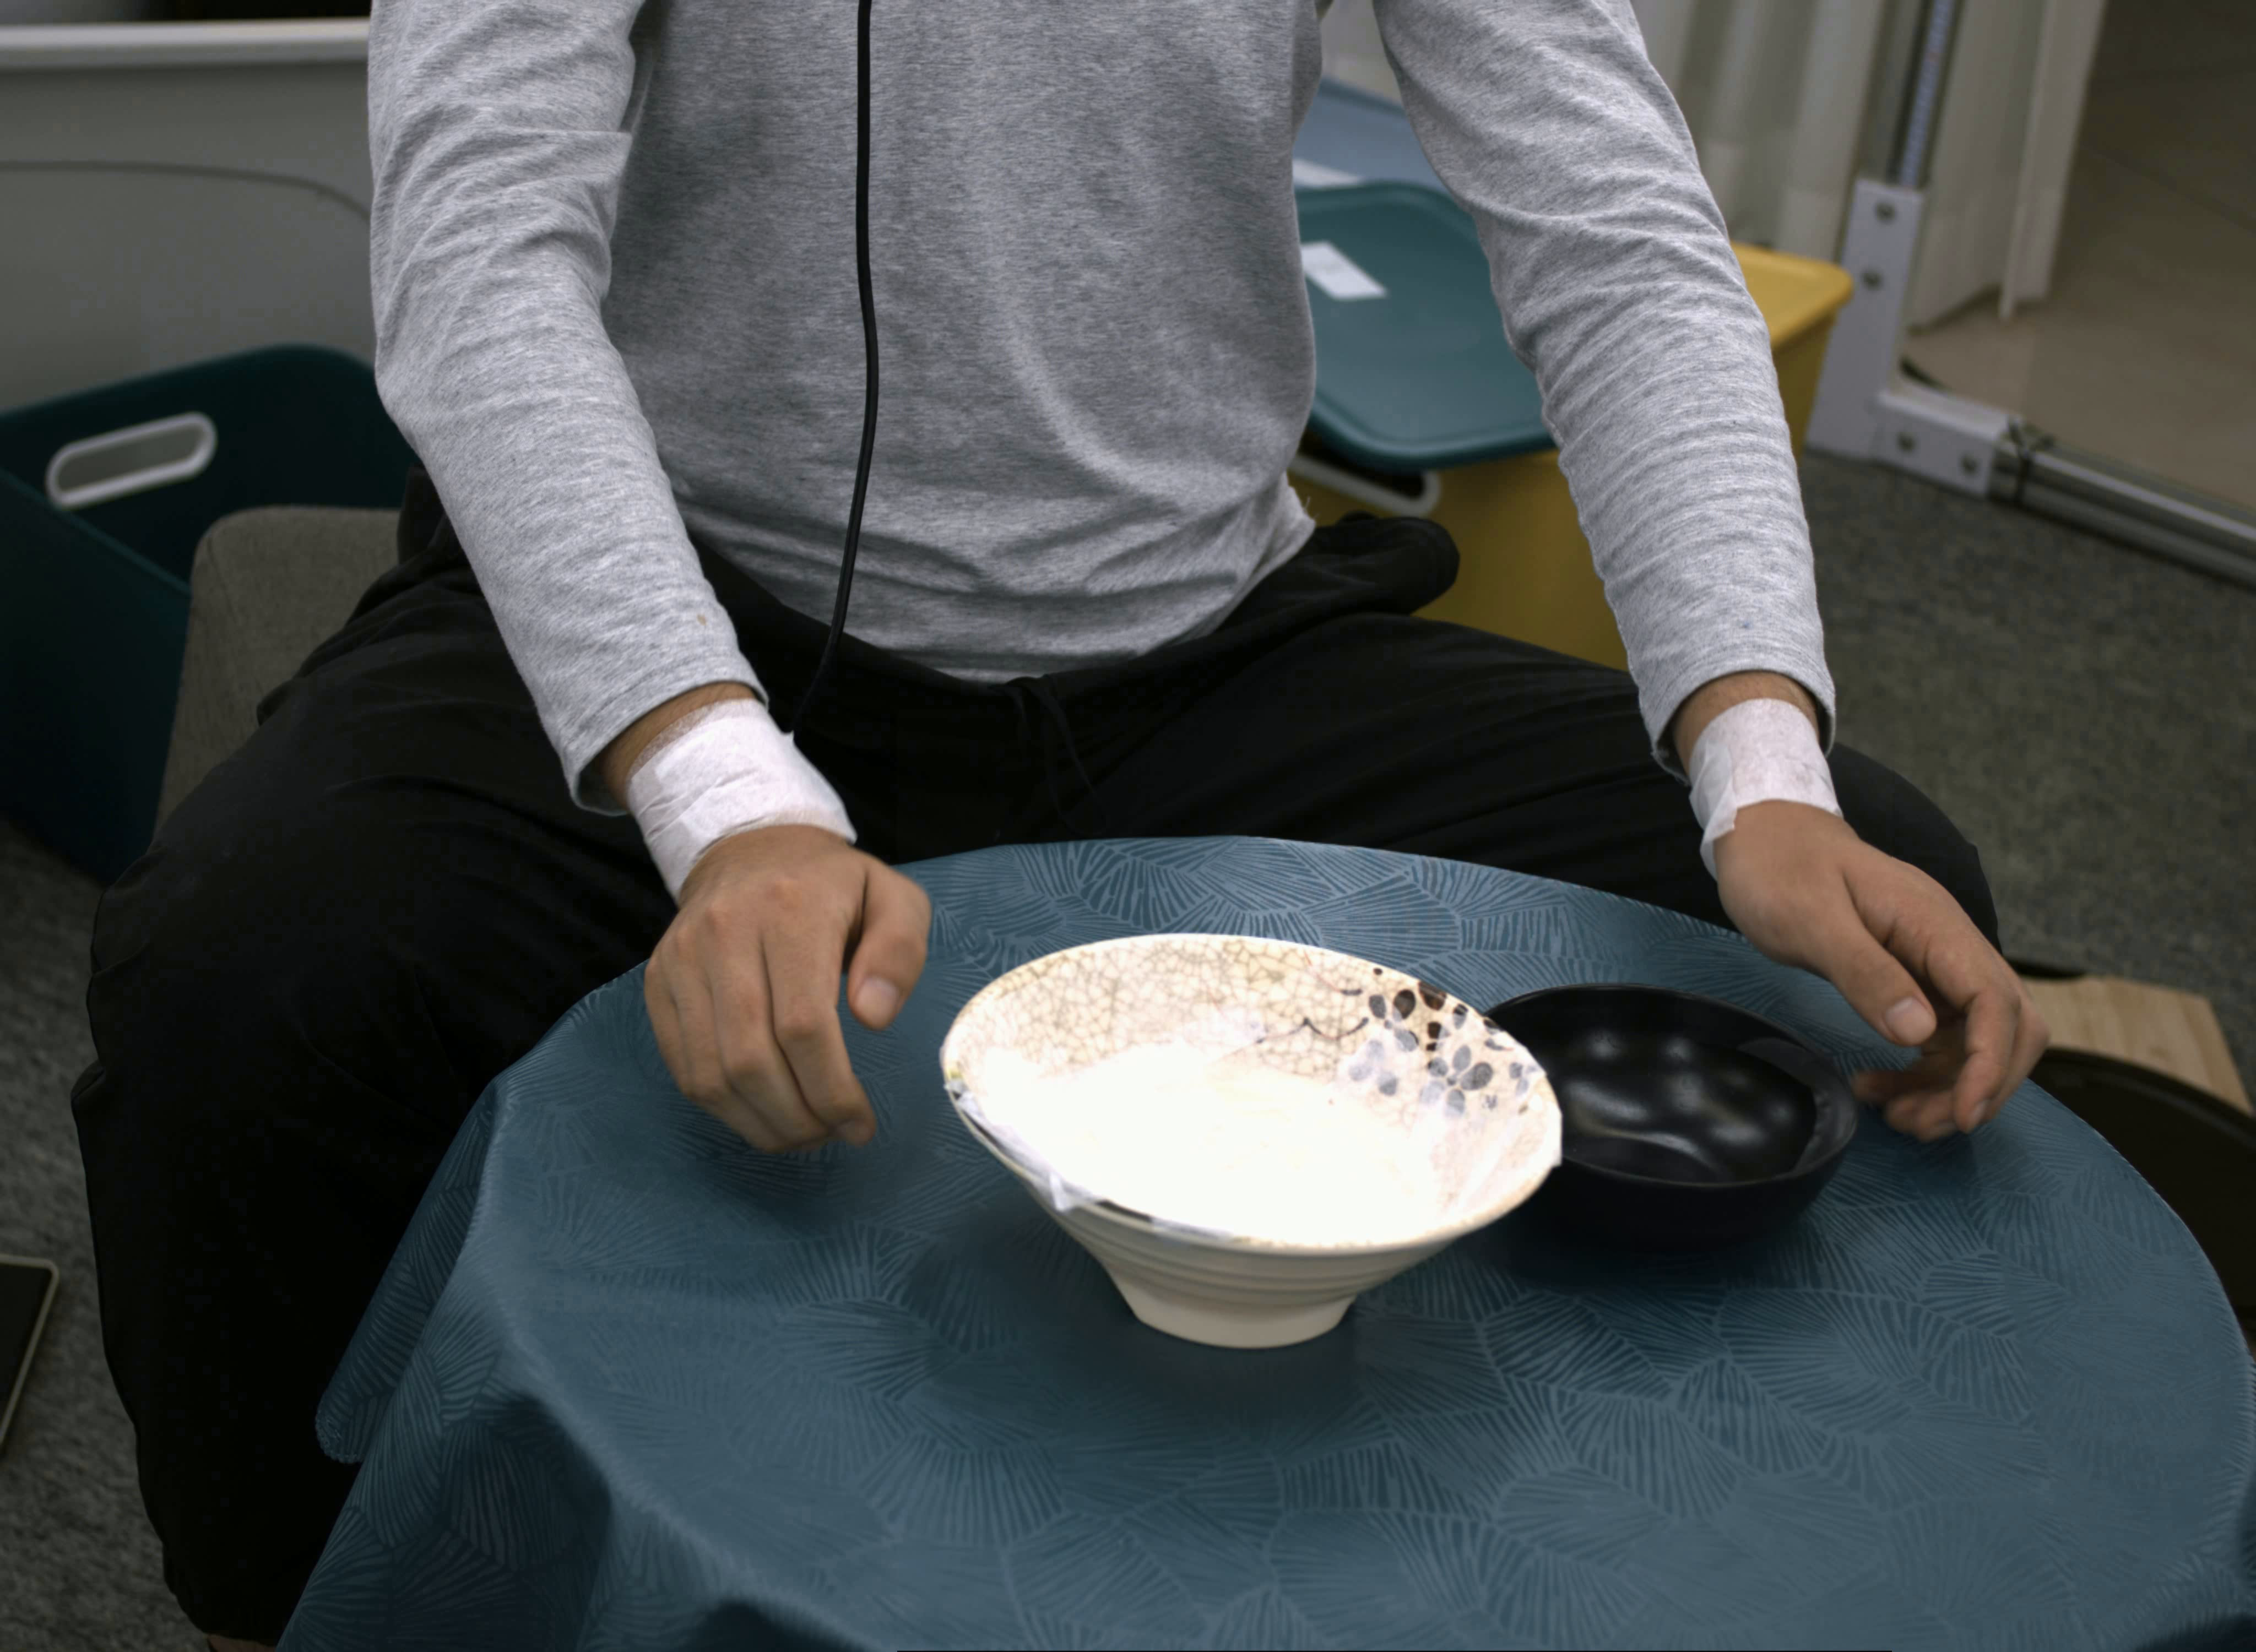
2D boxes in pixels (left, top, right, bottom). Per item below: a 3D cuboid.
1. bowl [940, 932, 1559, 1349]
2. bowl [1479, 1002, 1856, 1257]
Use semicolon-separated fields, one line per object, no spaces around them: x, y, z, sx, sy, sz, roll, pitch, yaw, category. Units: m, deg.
0.035;0.116;1.743;0.203;0.078;0.205;6;26;-3;bowl
0.177;0.111;1.825;0.139;0.049;0.141;5;21;-2;bowl
